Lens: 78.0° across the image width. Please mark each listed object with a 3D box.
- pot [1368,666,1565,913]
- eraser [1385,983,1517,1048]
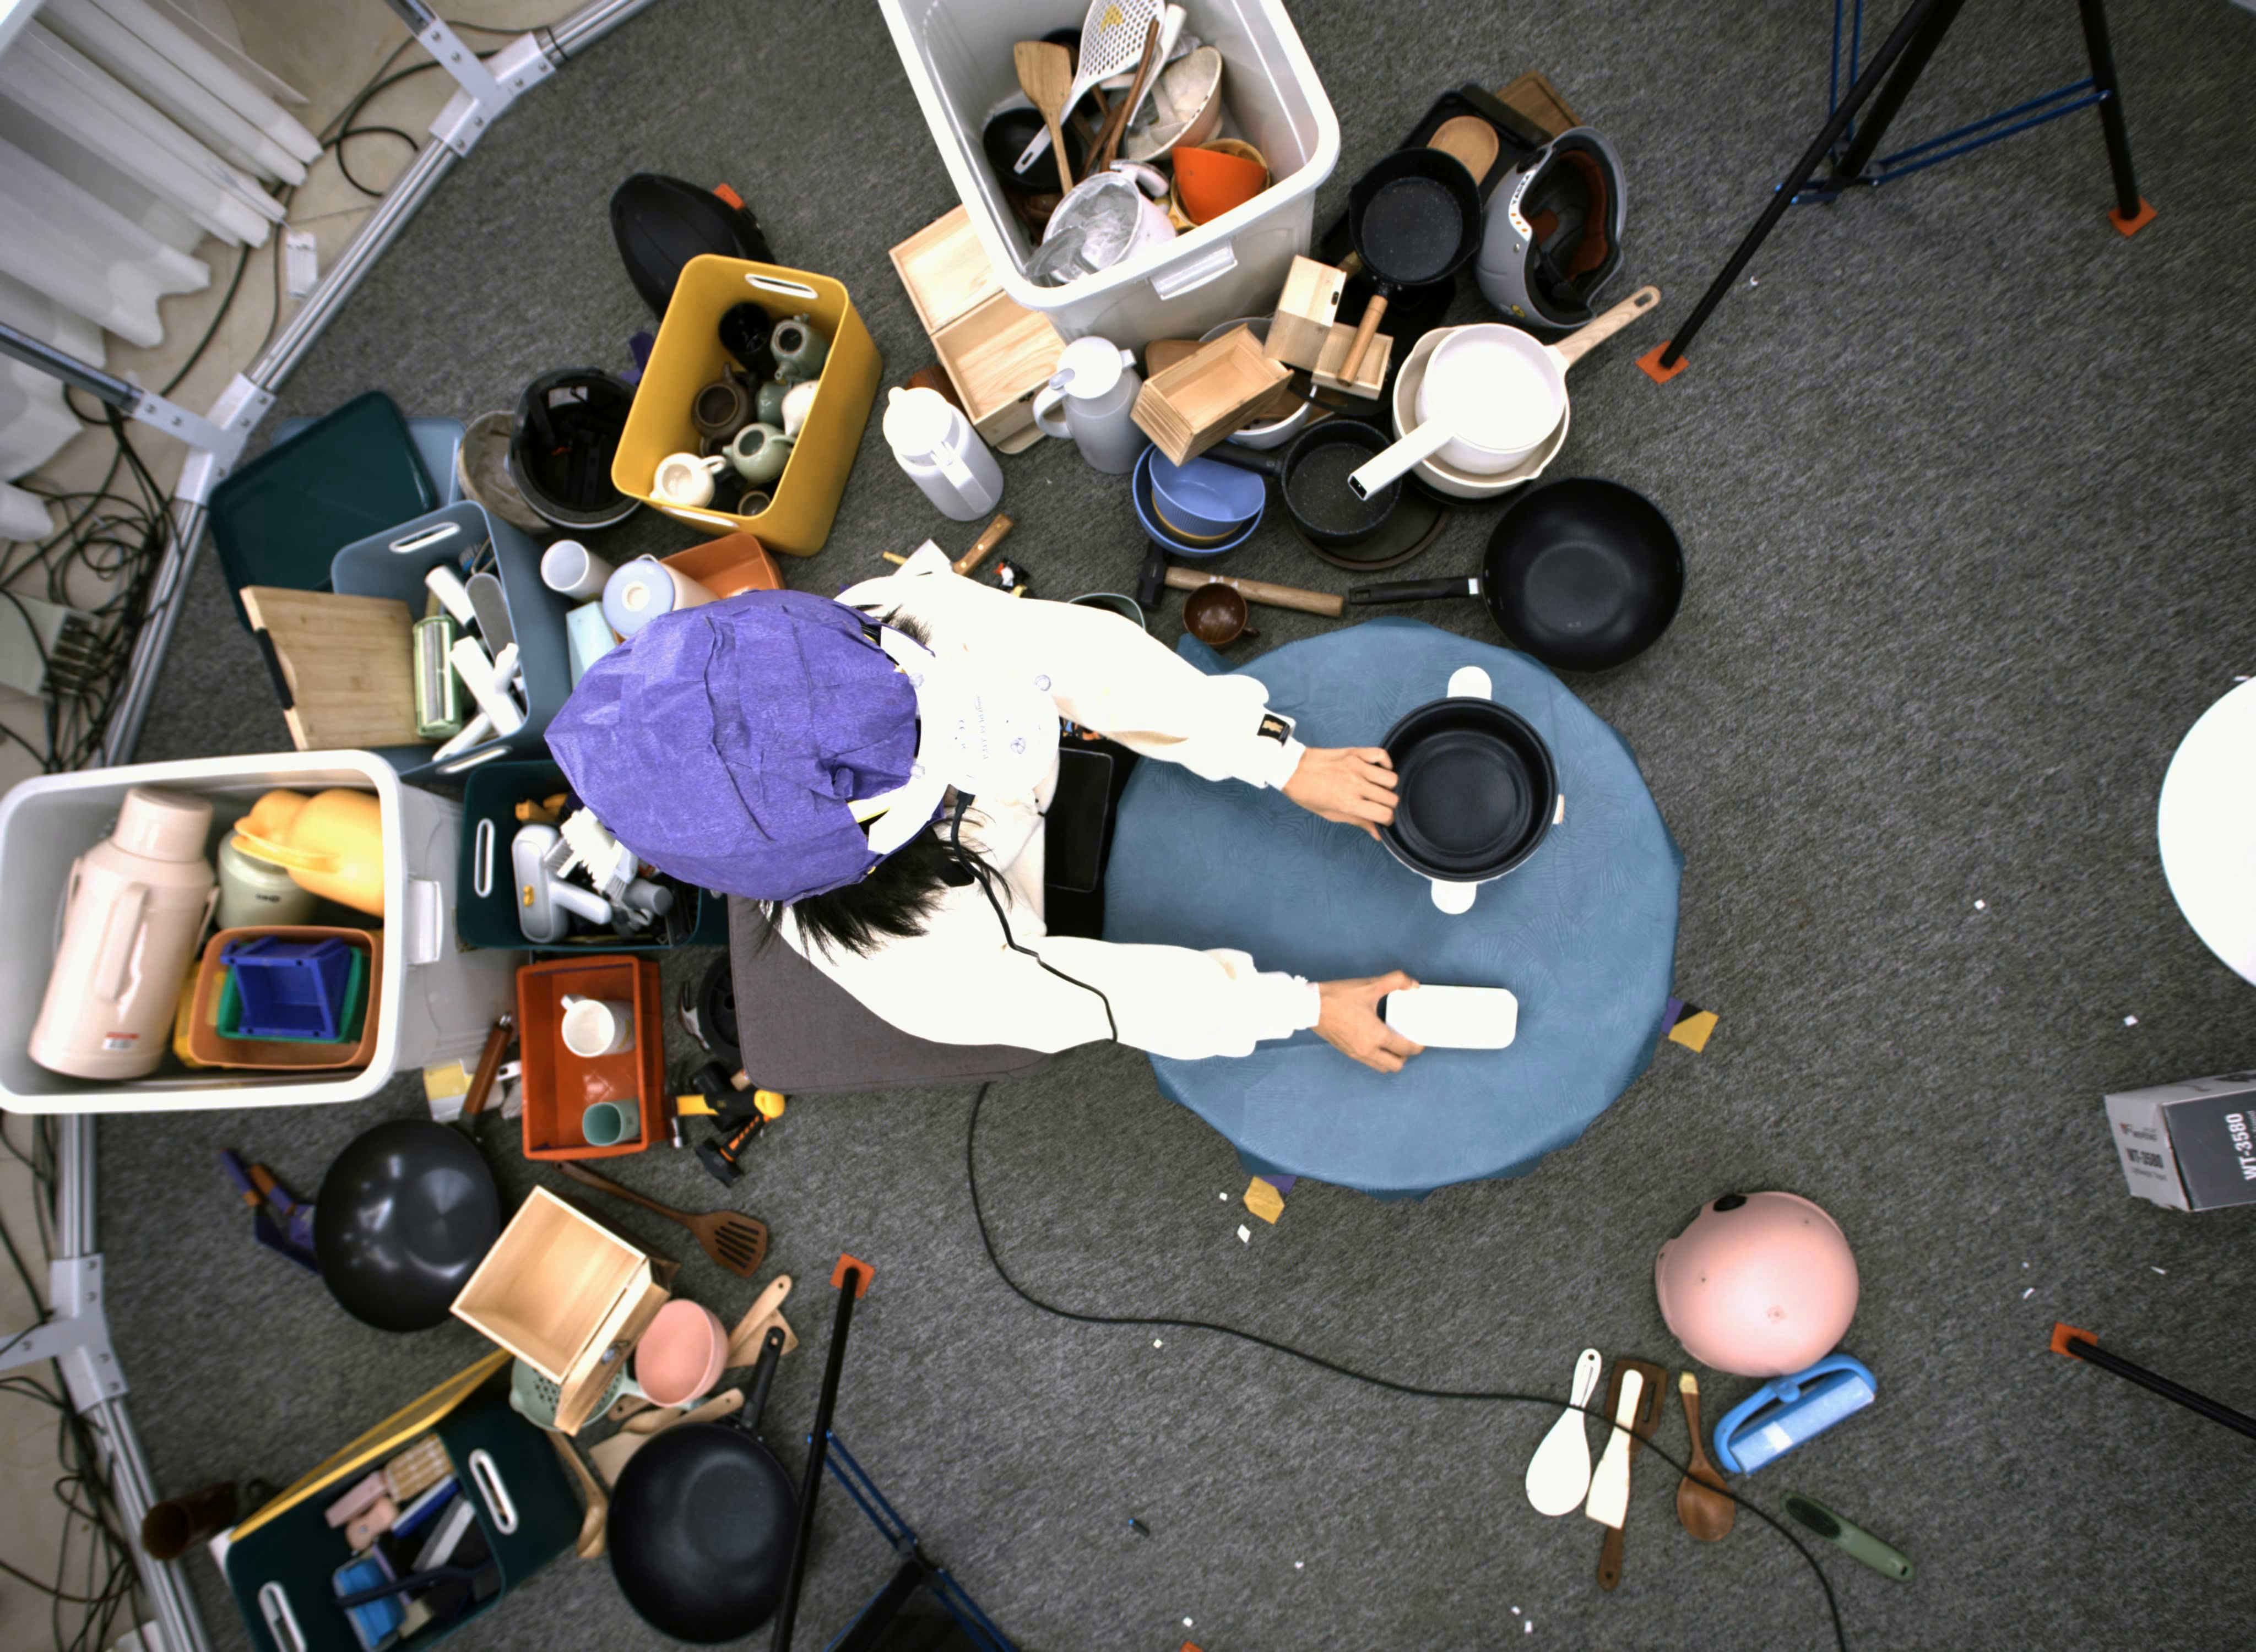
[{"bbox_3d":[0.342,-0.032,1.380,0.191,0.142,0.239,3,88,16],"label":"pot"},{"bbox_3d":[0.331,0.190,1.417,0.131,0.034,0.064,2,102,8],"label":"eraser"}]
